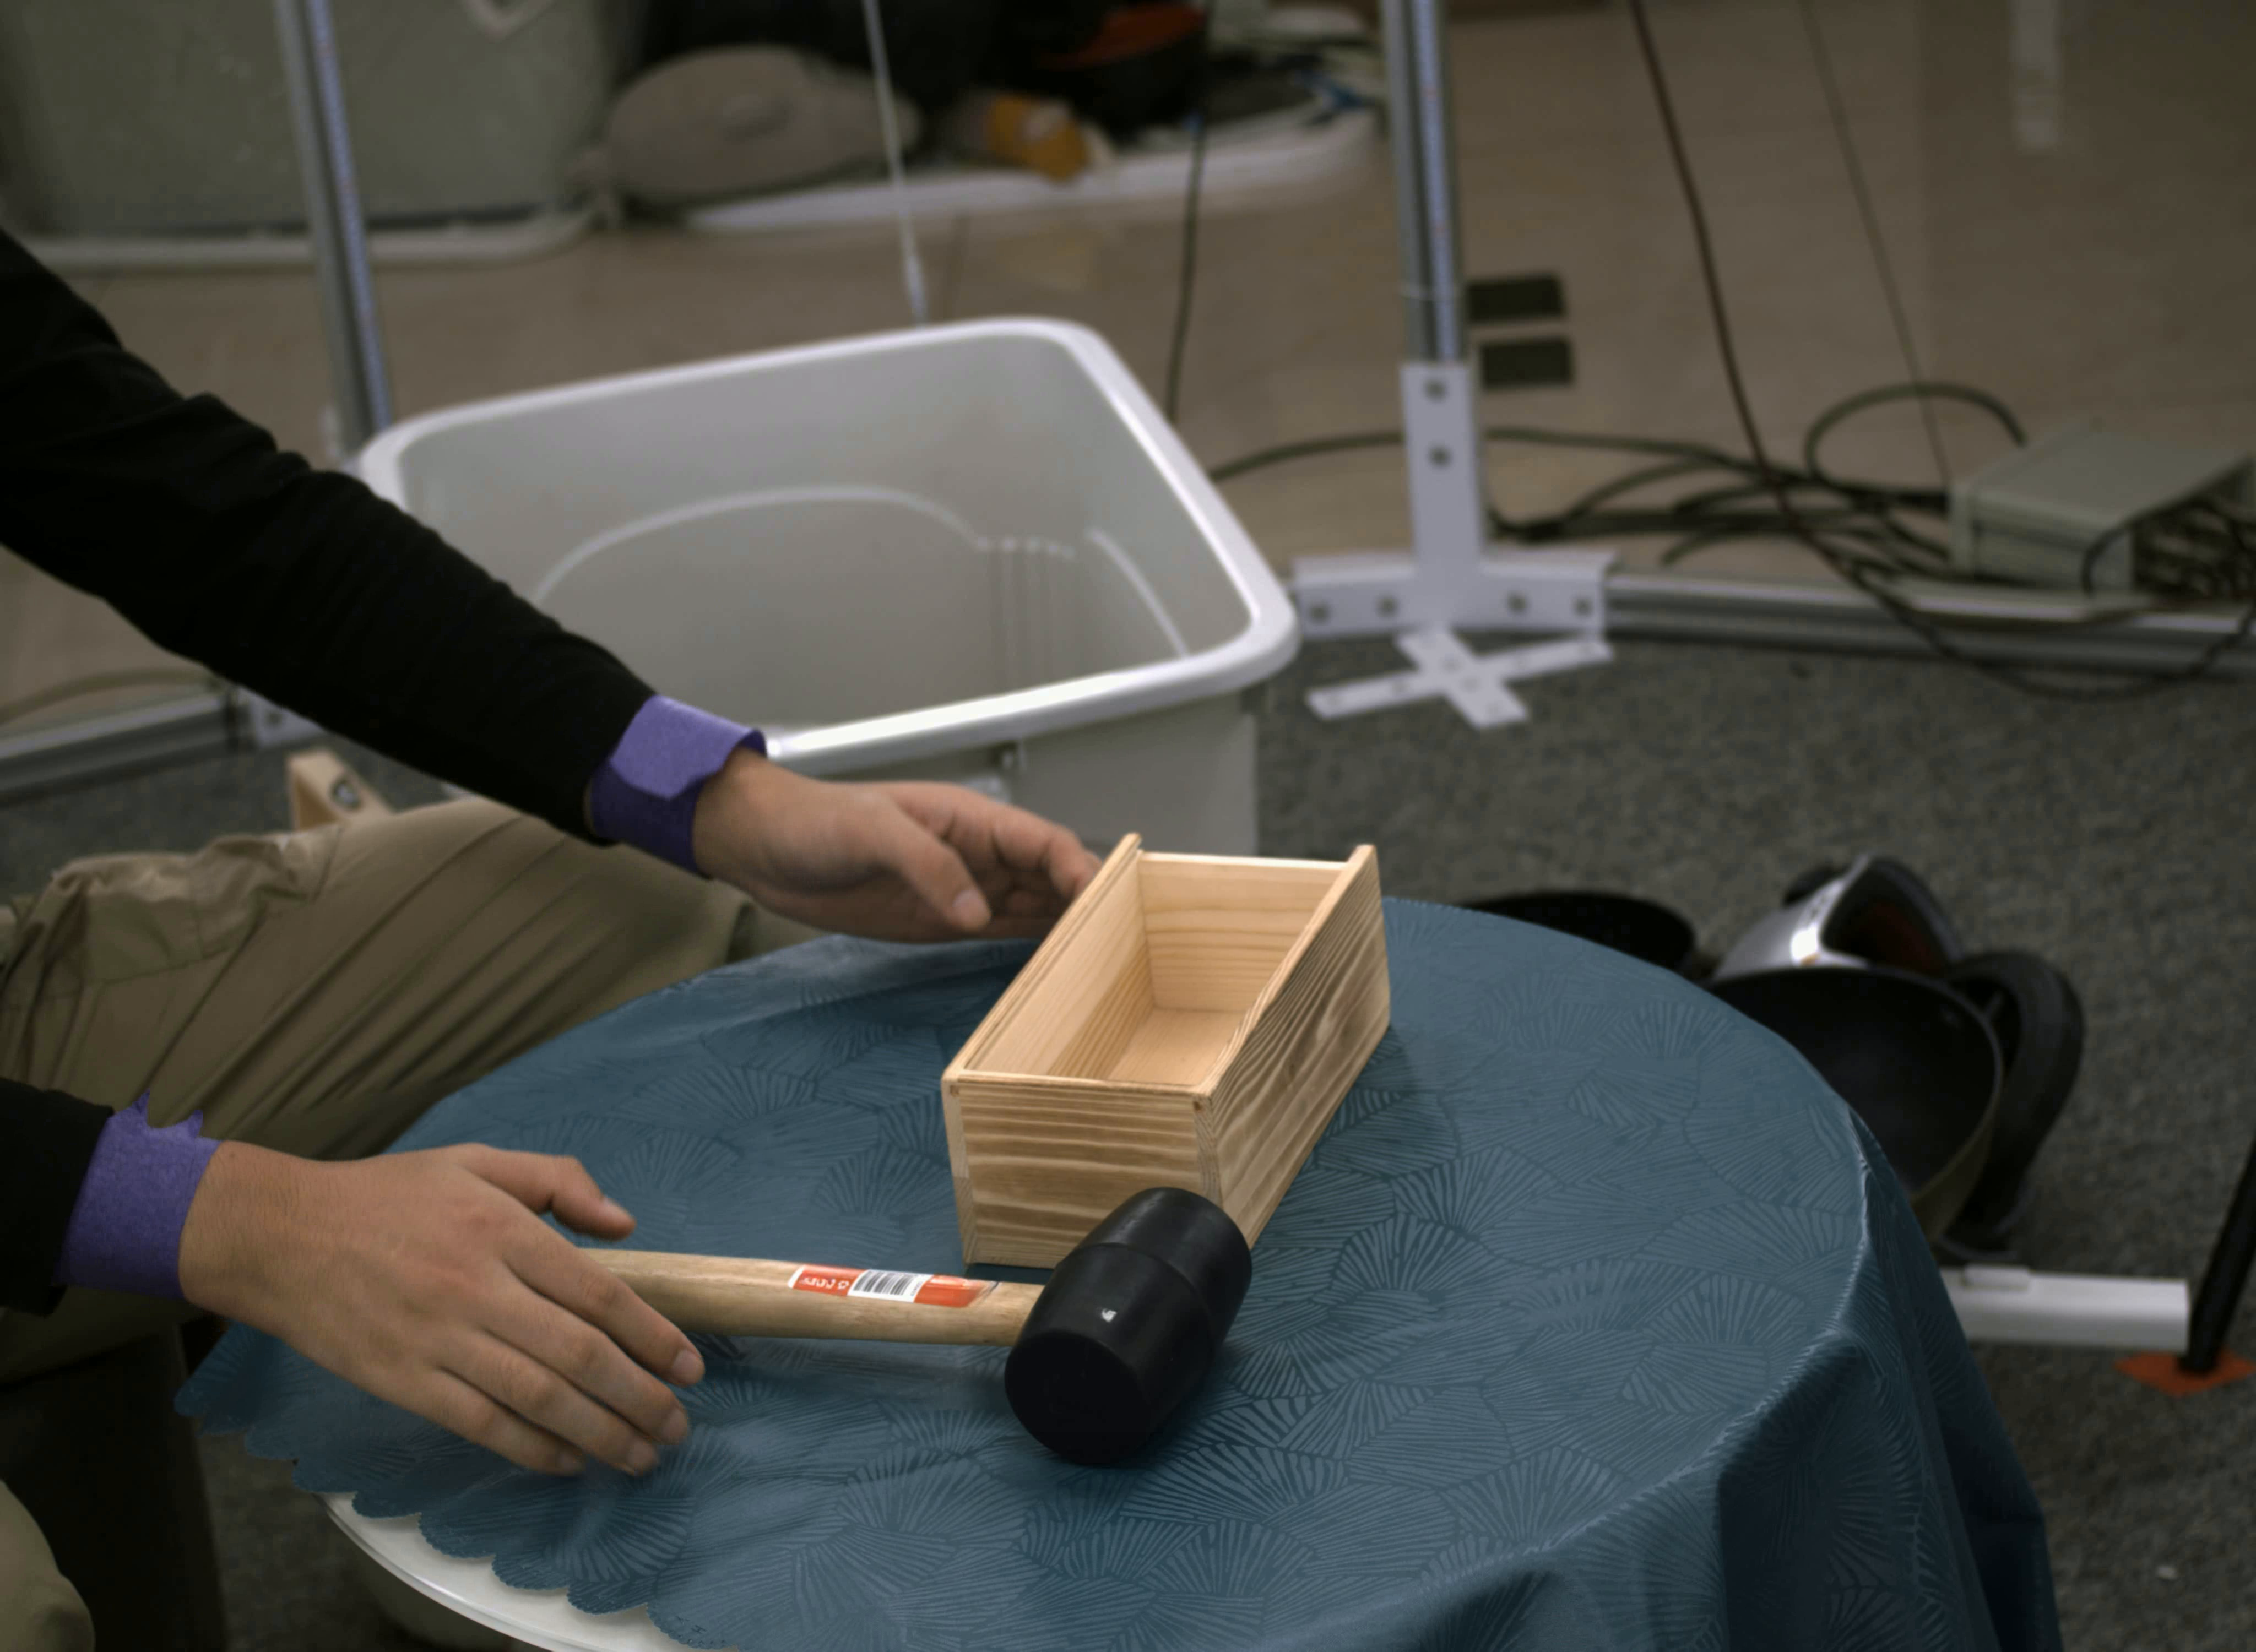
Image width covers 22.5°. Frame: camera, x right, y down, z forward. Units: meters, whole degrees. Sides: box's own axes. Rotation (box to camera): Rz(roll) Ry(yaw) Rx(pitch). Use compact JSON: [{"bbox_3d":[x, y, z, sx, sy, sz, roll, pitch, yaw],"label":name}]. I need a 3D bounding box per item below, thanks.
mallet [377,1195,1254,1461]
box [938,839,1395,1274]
[{"bbox_3d":[-0.124,0.165,2.053,0.338,0.065,0.100,5,26,25],"label":"mallet"},{"bbox_3d":[0.018,0.086,2.164,0.107,0.081,0.208,3,27,20],"label":"box"}]
